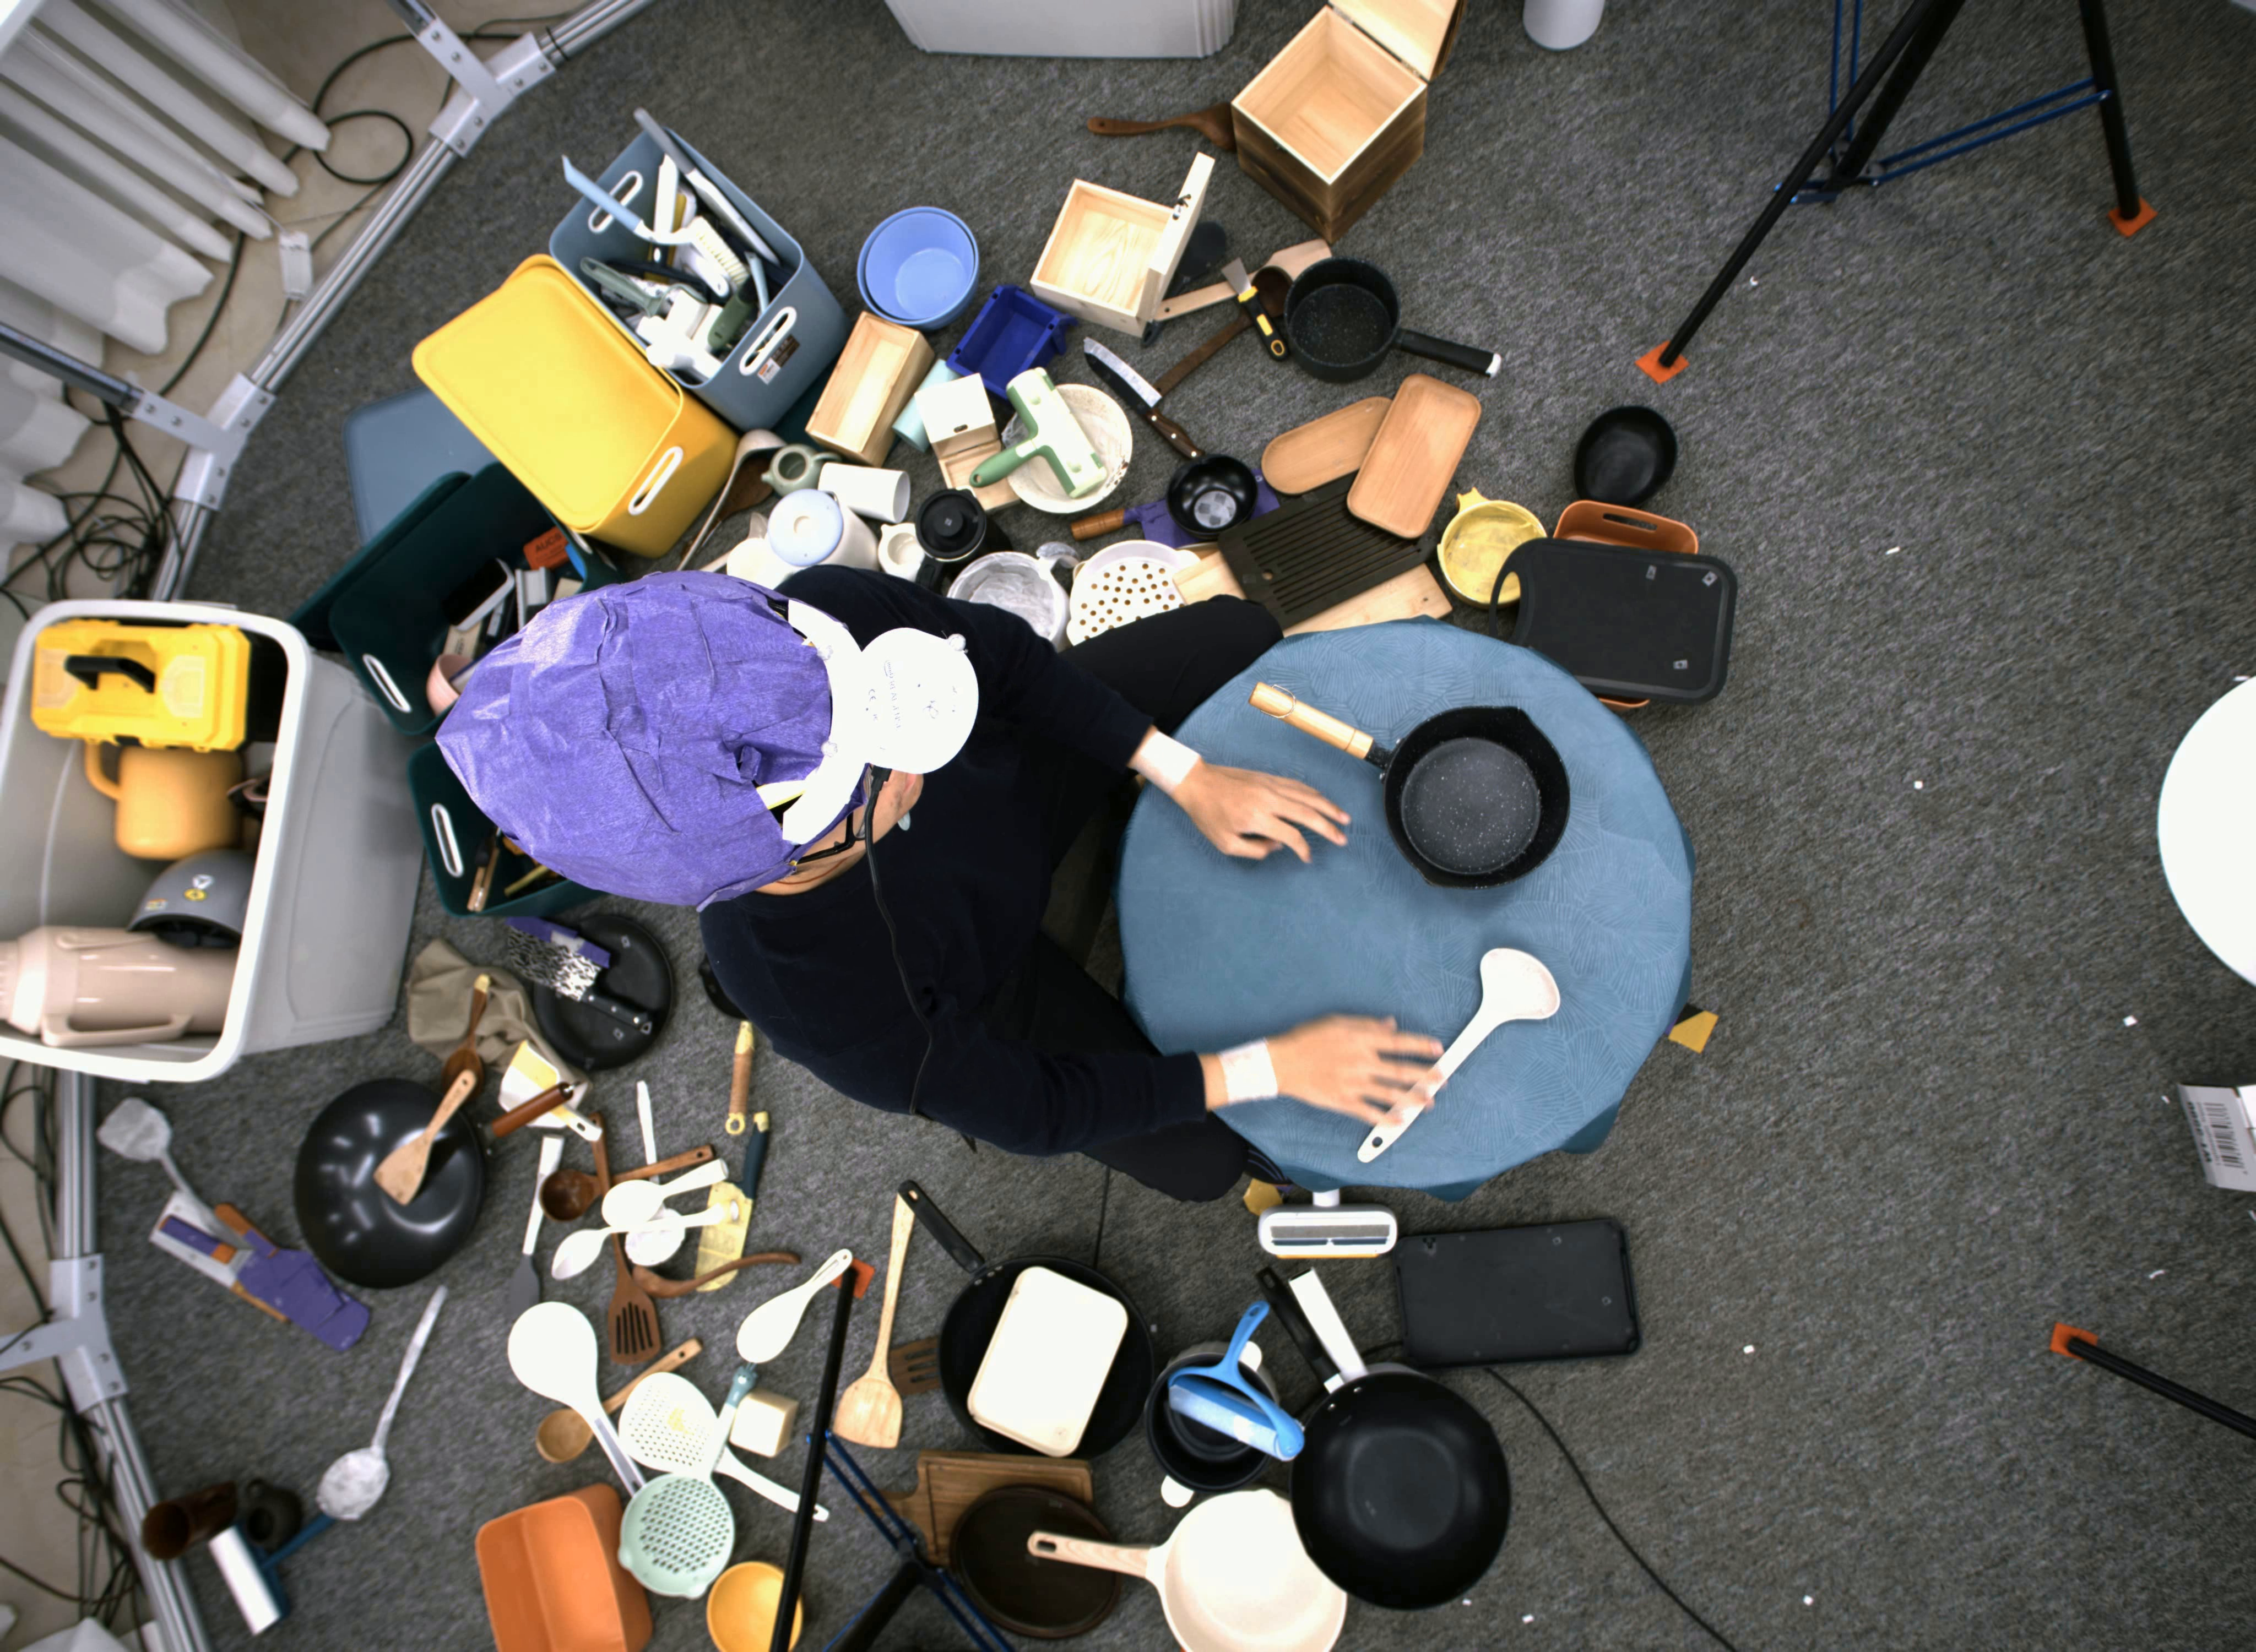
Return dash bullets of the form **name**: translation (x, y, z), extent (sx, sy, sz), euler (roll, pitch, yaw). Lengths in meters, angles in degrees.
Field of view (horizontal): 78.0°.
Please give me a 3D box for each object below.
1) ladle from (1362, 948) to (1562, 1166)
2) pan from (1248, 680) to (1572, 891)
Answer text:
- **ladle**: translation (0.332, 0.241, 1.403), extent (0.089, 0.069, 0.275), euler (39, 92, 3)
- **pan**: translation (0.281, -0.060, 1.410), extent (0.342, 0.108, 0.208), euler (25, 92, 9)
